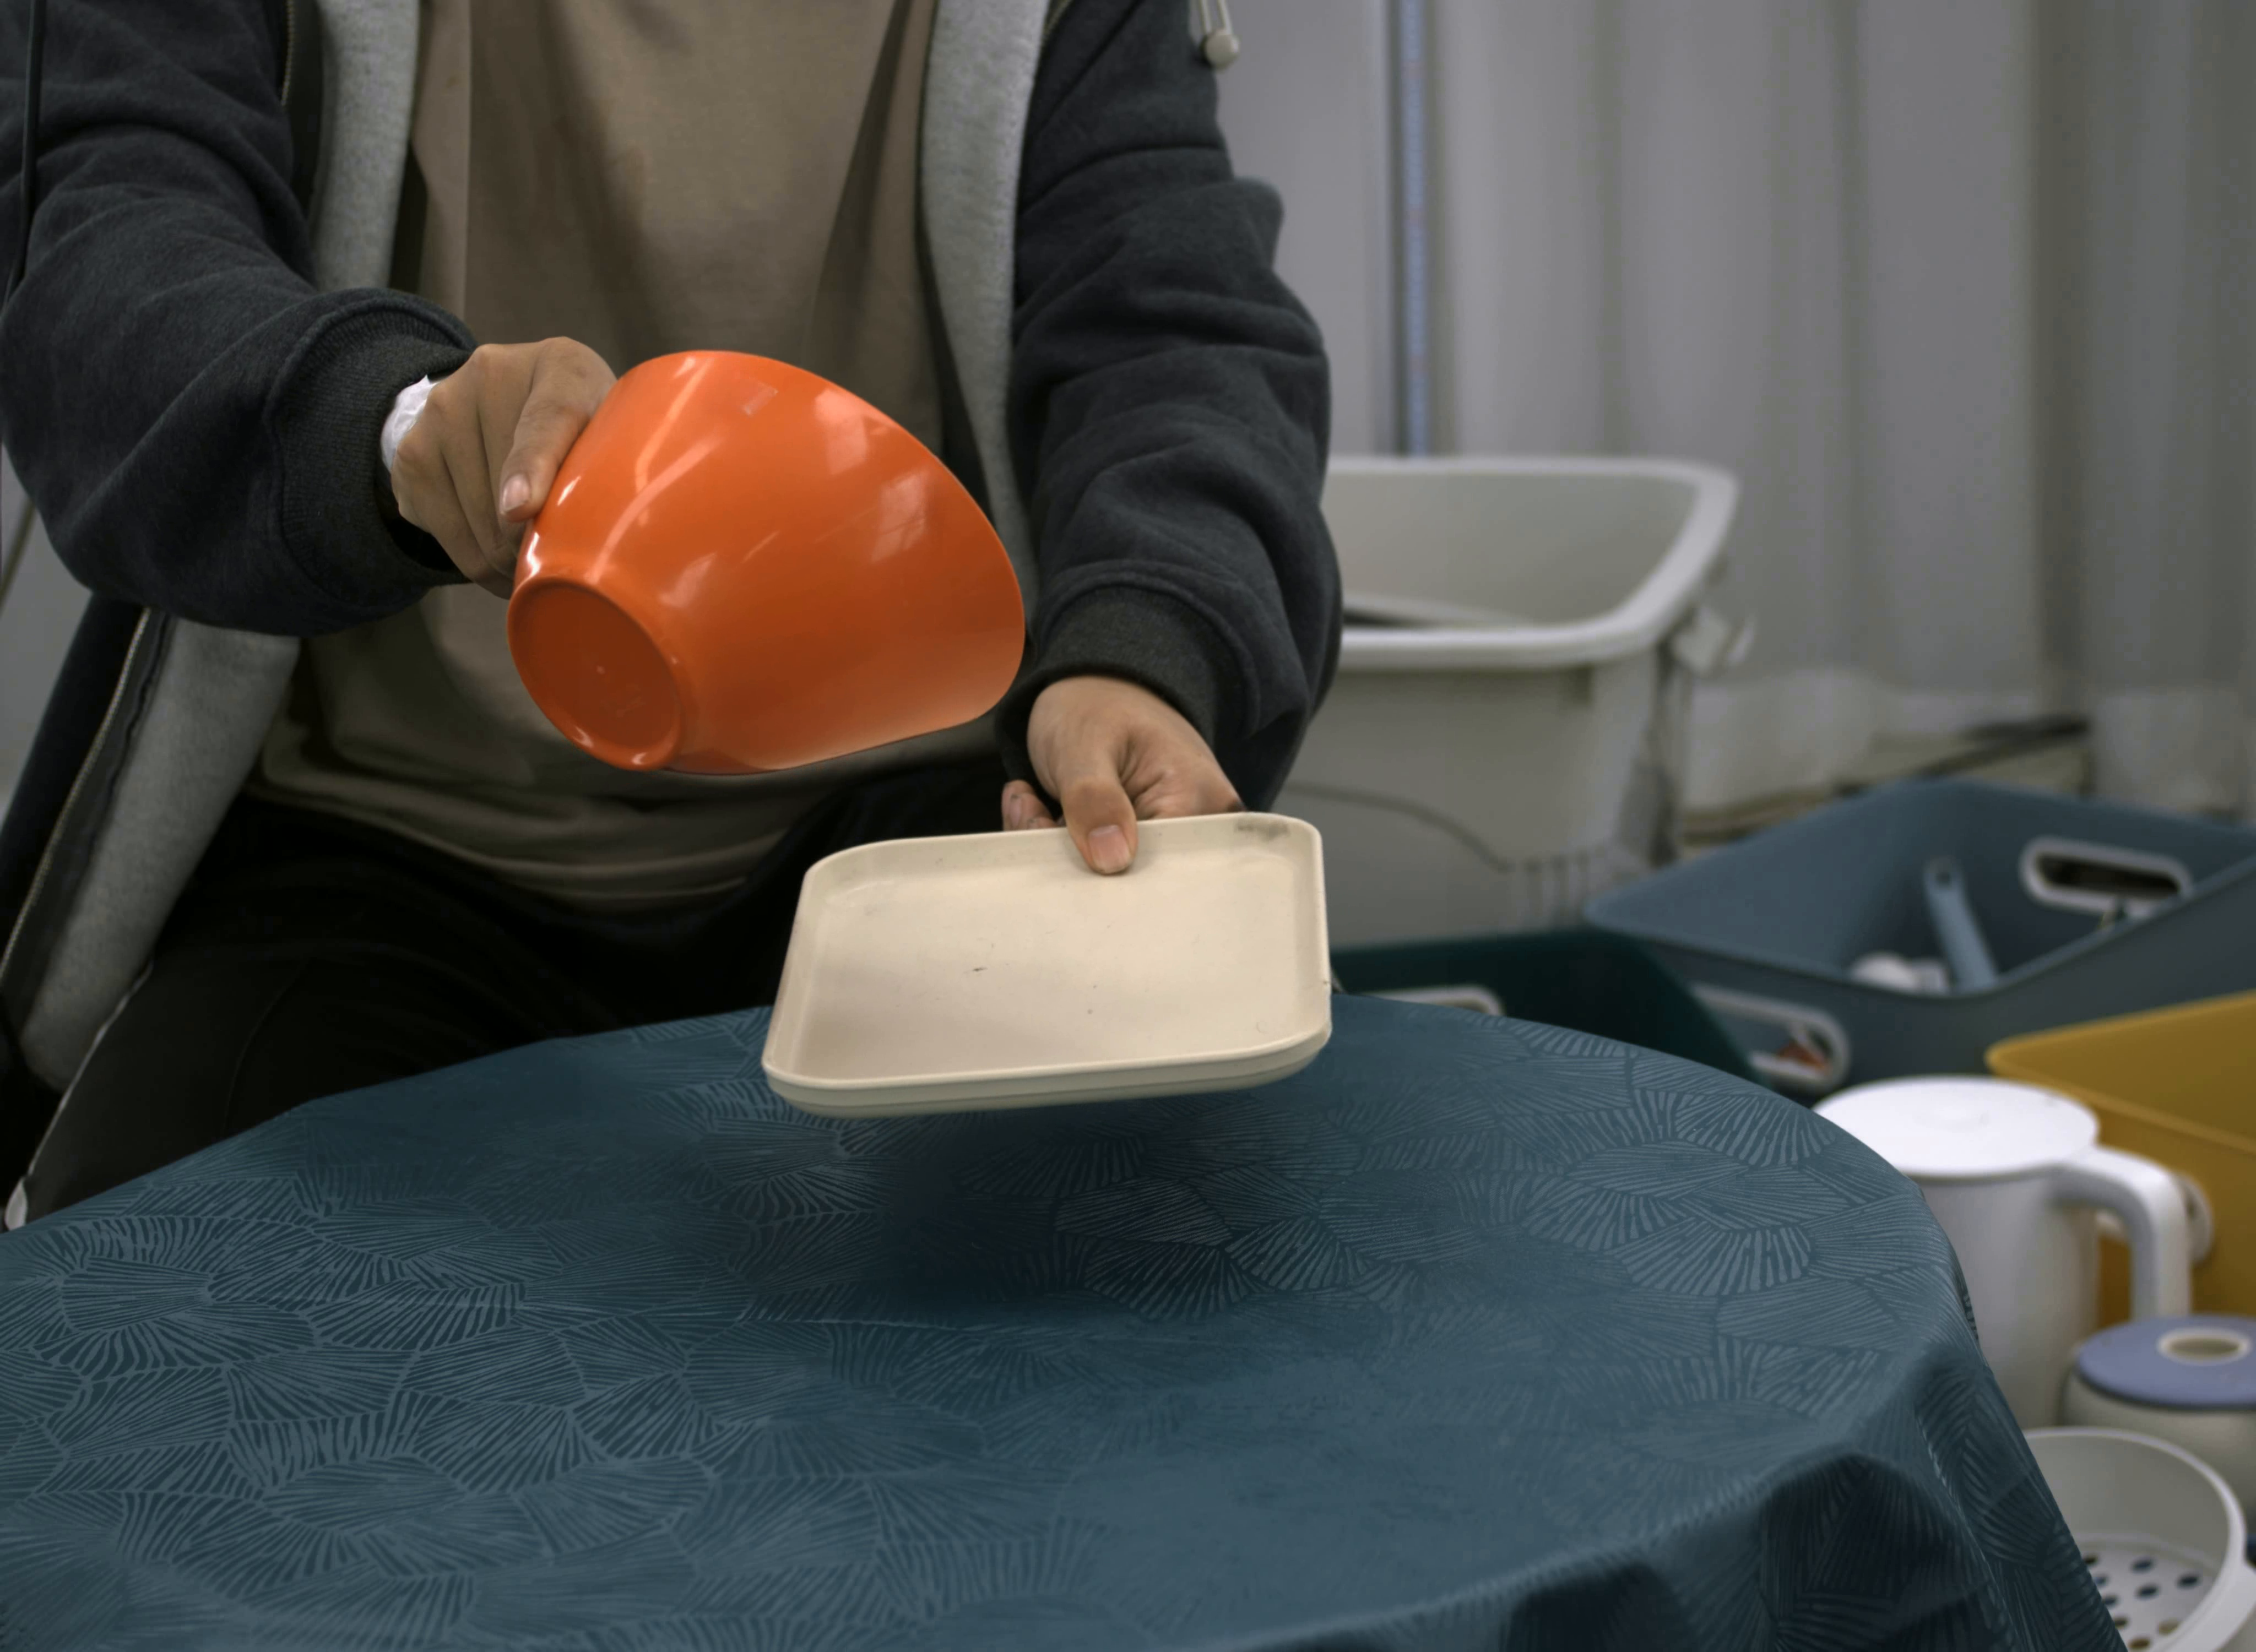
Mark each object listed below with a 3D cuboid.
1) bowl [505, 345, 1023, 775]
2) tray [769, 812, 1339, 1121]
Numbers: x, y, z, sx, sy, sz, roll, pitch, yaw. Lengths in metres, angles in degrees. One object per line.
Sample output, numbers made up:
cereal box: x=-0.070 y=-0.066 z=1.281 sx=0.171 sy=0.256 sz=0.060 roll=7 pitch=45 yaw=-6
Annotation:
bowl: x=-0.119 y=-0.063 z=1.618 sx=0.148 sy=0.146 sz=0.105 roll=9 pitch=38 yaw=38
tray: x=-0.021 y=0.043 z=1.697 sx=0.171 sy=0.017 sz=0.241 roll=-5 pitch=17 yaw=2
